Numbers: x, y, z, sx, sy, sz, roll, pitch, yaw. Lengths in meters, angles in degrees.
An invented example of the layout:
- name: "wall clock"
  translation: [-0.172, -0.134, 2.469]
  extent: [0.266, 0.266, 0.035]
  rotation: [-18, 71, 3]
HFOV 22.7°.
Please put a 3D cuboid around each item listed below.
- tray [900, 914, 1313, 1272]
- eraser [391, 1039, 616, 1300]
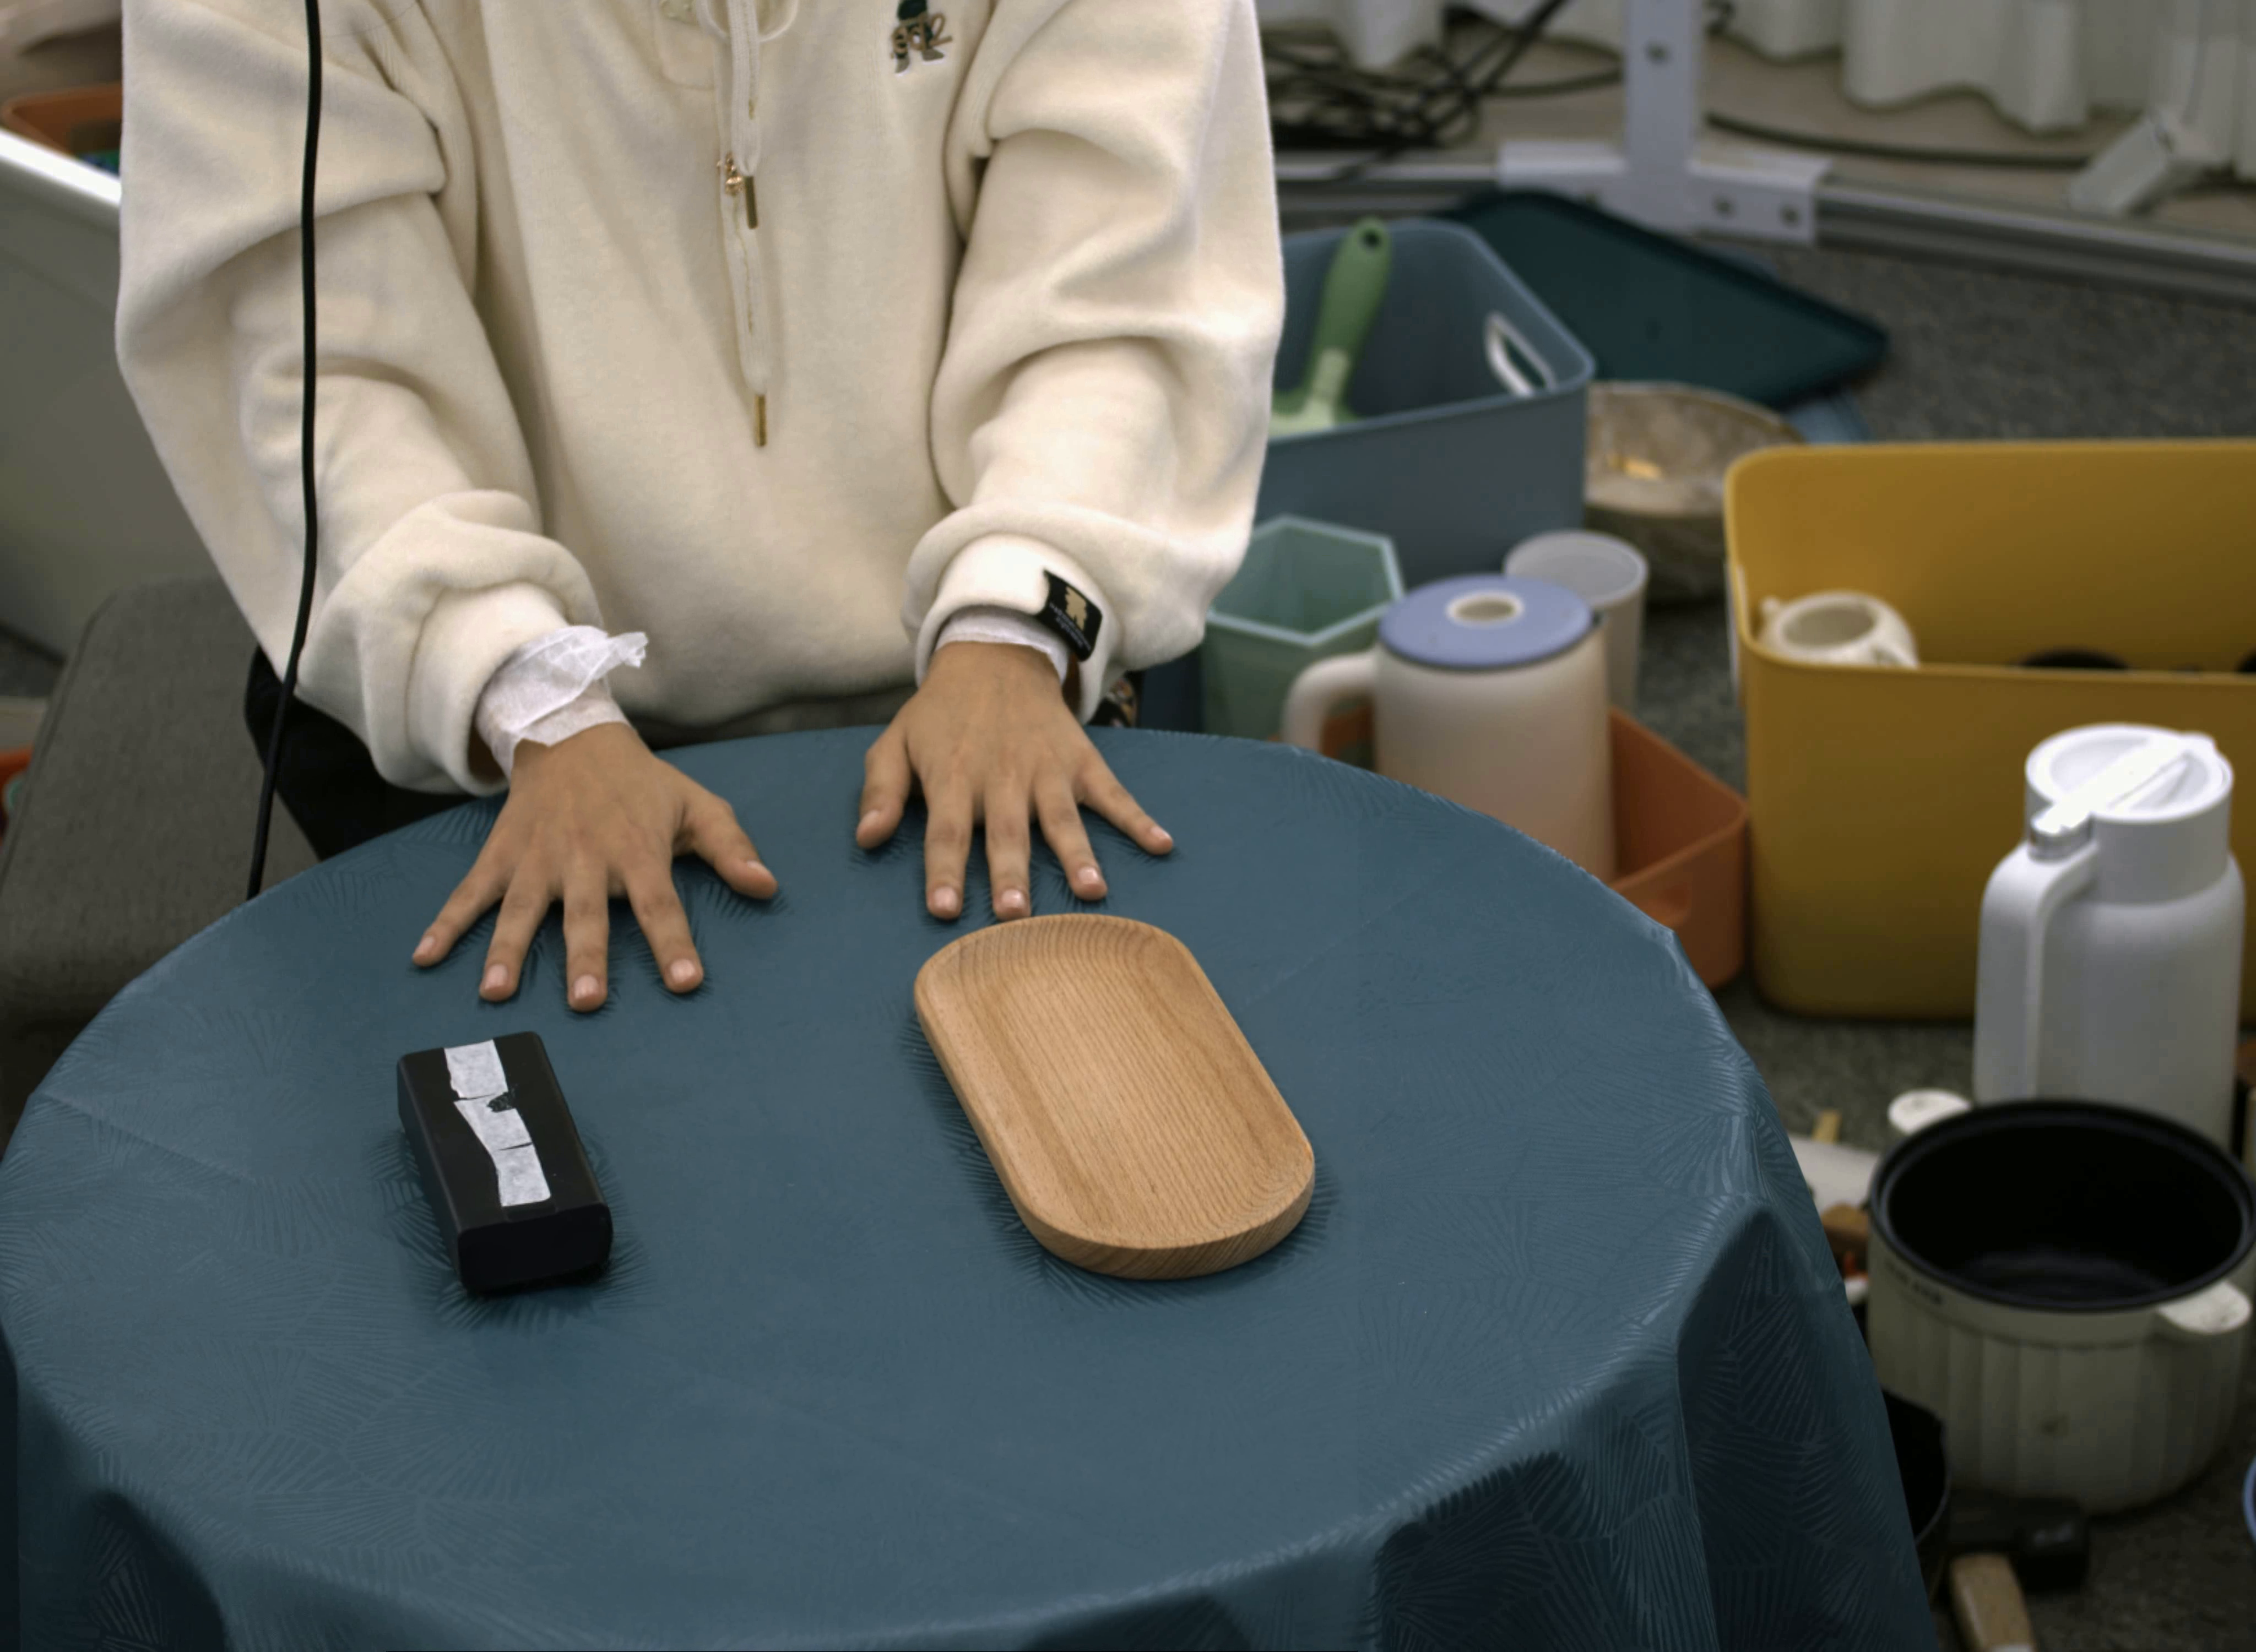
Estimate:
- name: "tray"
  translation: [-0.009, 0.089, 1.909]
  extent: [0.102, 0.020, 0.233]
  rotation: [-10, 26, -15]
- name: "eraser"
  translation: [-0.208, 0.114, 1.866]
  extent: [0.053, 0.030, 0.127]
  rotation: [-5, 28, -16]
